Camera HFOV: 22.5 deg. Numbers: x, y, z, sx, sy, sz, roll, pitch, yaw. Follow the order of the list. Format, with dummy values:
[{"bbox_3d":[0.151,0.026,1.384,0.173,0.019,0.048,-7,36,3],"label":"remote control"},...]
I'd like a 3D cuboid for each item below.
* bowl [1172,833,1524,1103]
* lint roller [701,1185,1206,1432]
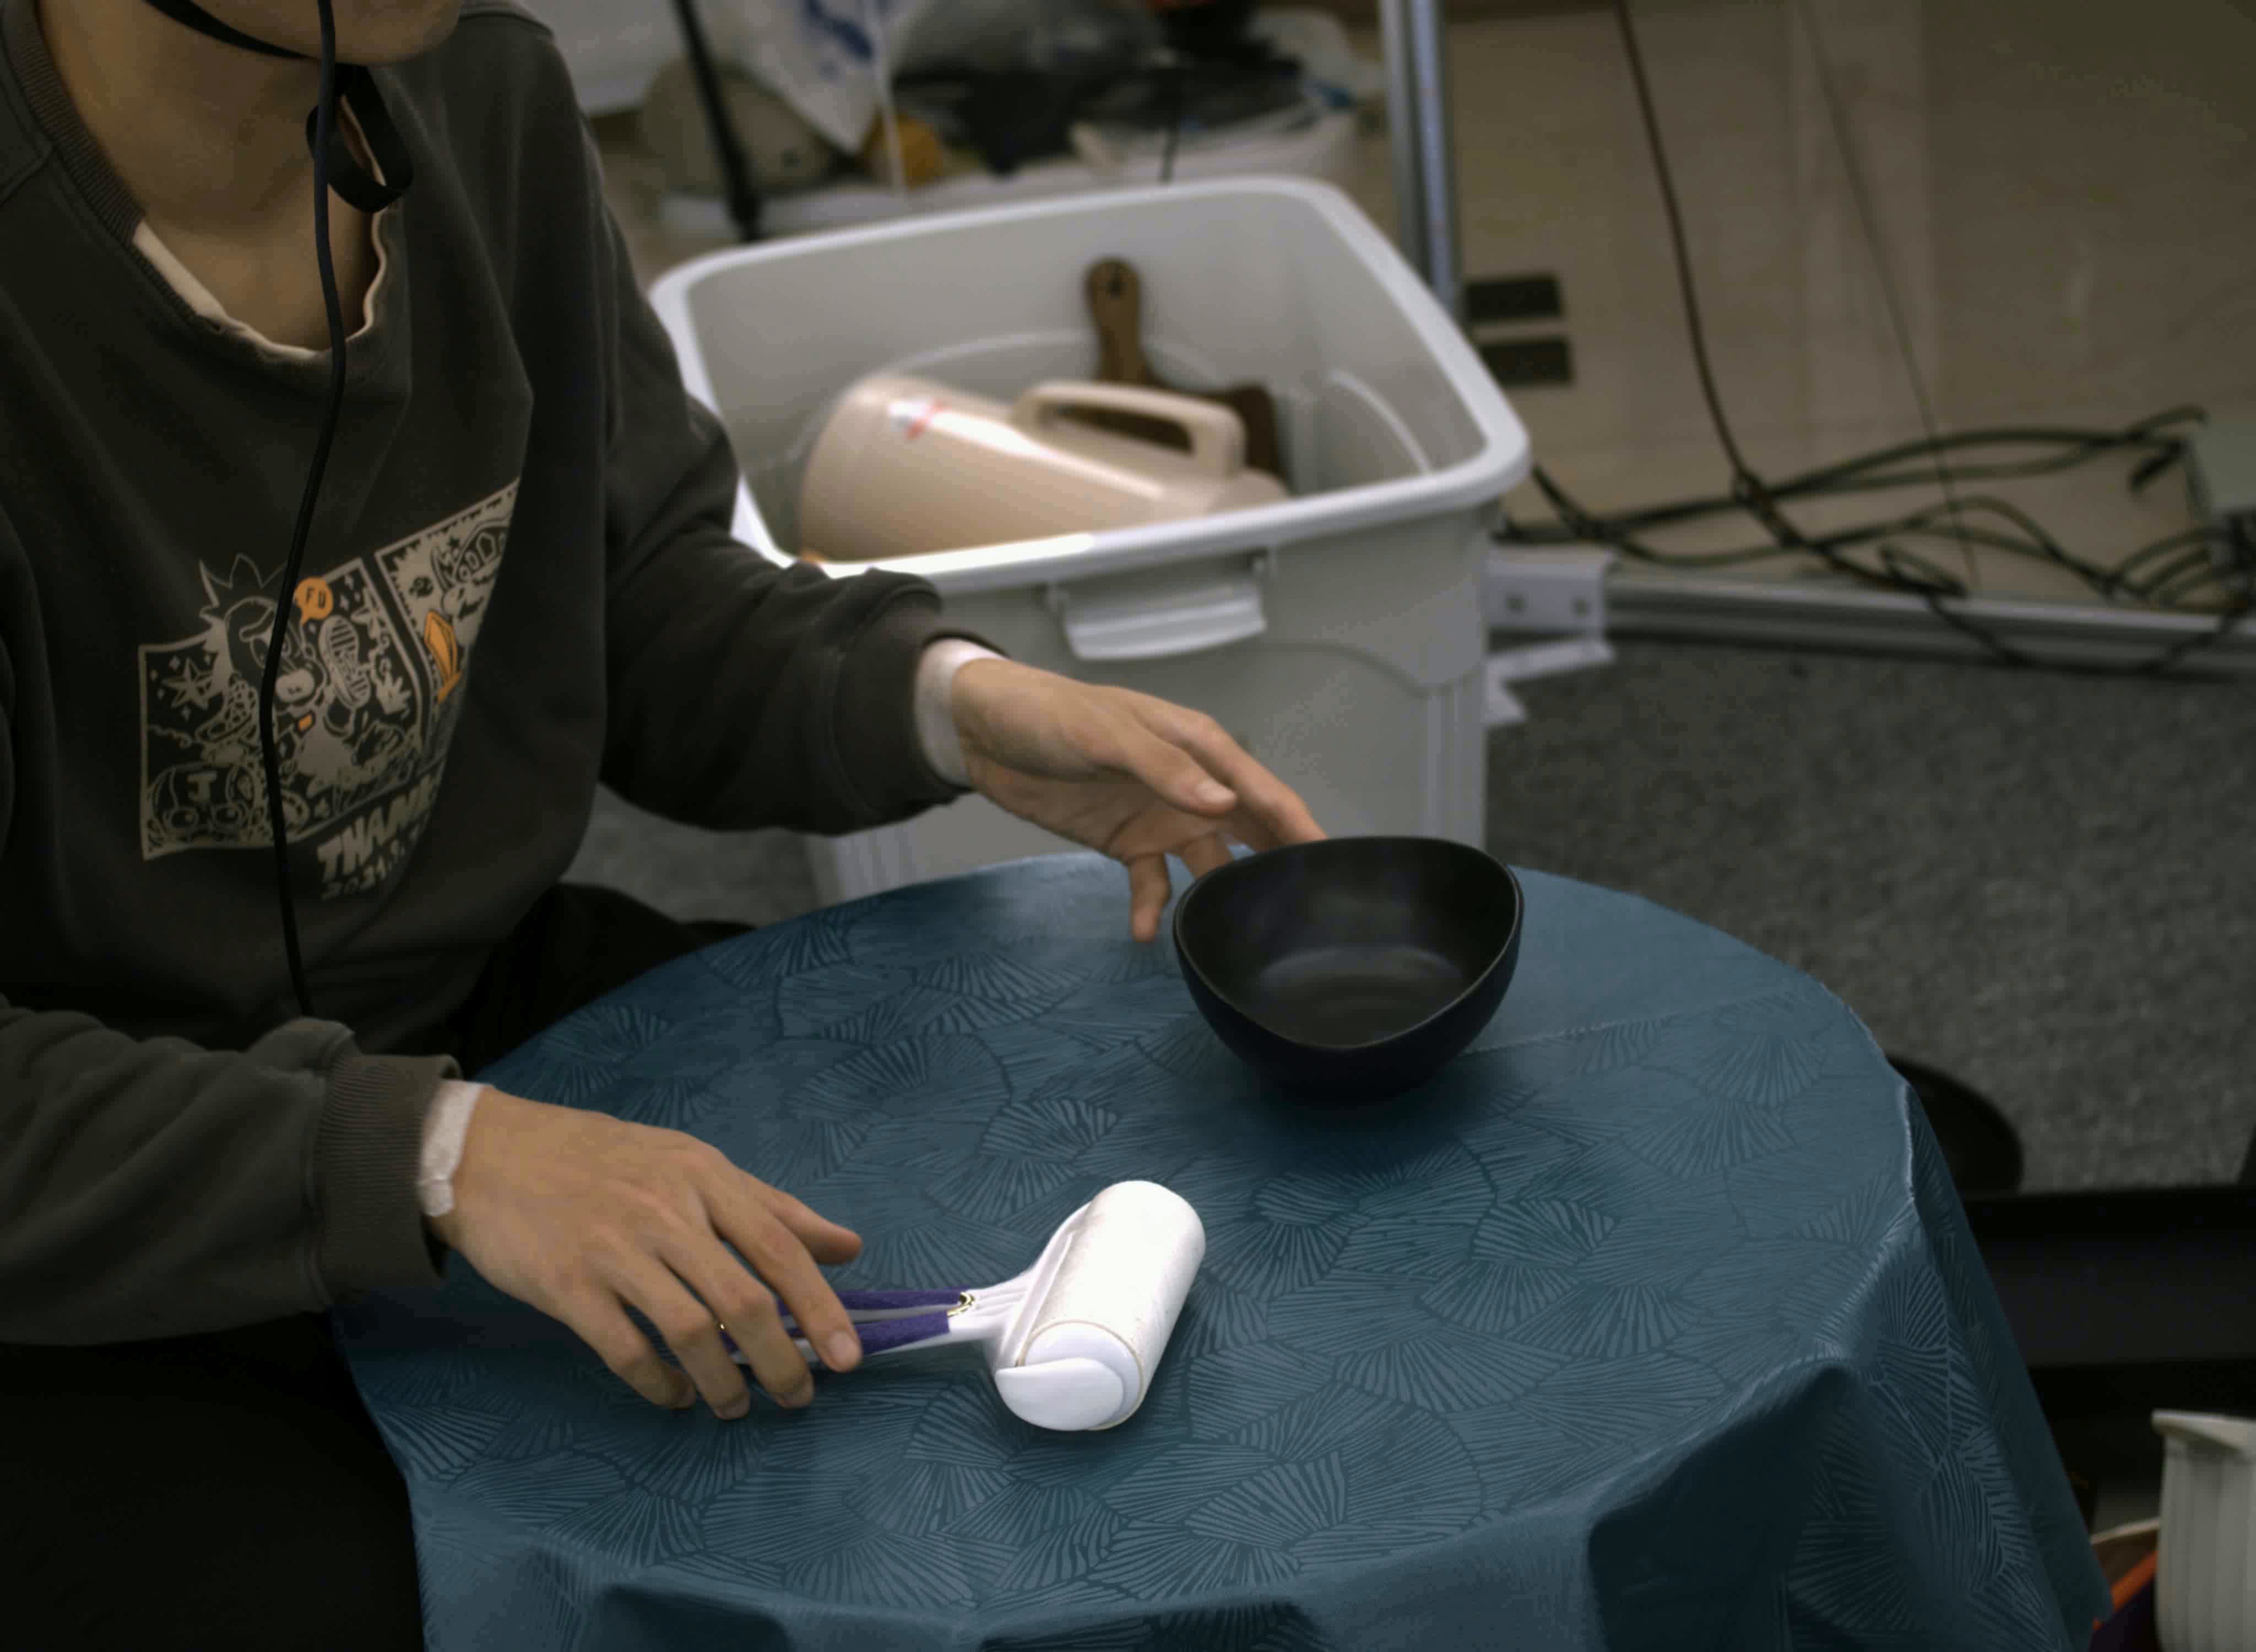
[{"bbox_3d":[0.089,0.063,2.212,0.137,0.068,0.167,-7,27,1],"label":"bowl"},{"bbox_3d":[-0.068,0.169,2.043,0.180,0.051,0.131,4,27,15],"label":"lint roller"}]
